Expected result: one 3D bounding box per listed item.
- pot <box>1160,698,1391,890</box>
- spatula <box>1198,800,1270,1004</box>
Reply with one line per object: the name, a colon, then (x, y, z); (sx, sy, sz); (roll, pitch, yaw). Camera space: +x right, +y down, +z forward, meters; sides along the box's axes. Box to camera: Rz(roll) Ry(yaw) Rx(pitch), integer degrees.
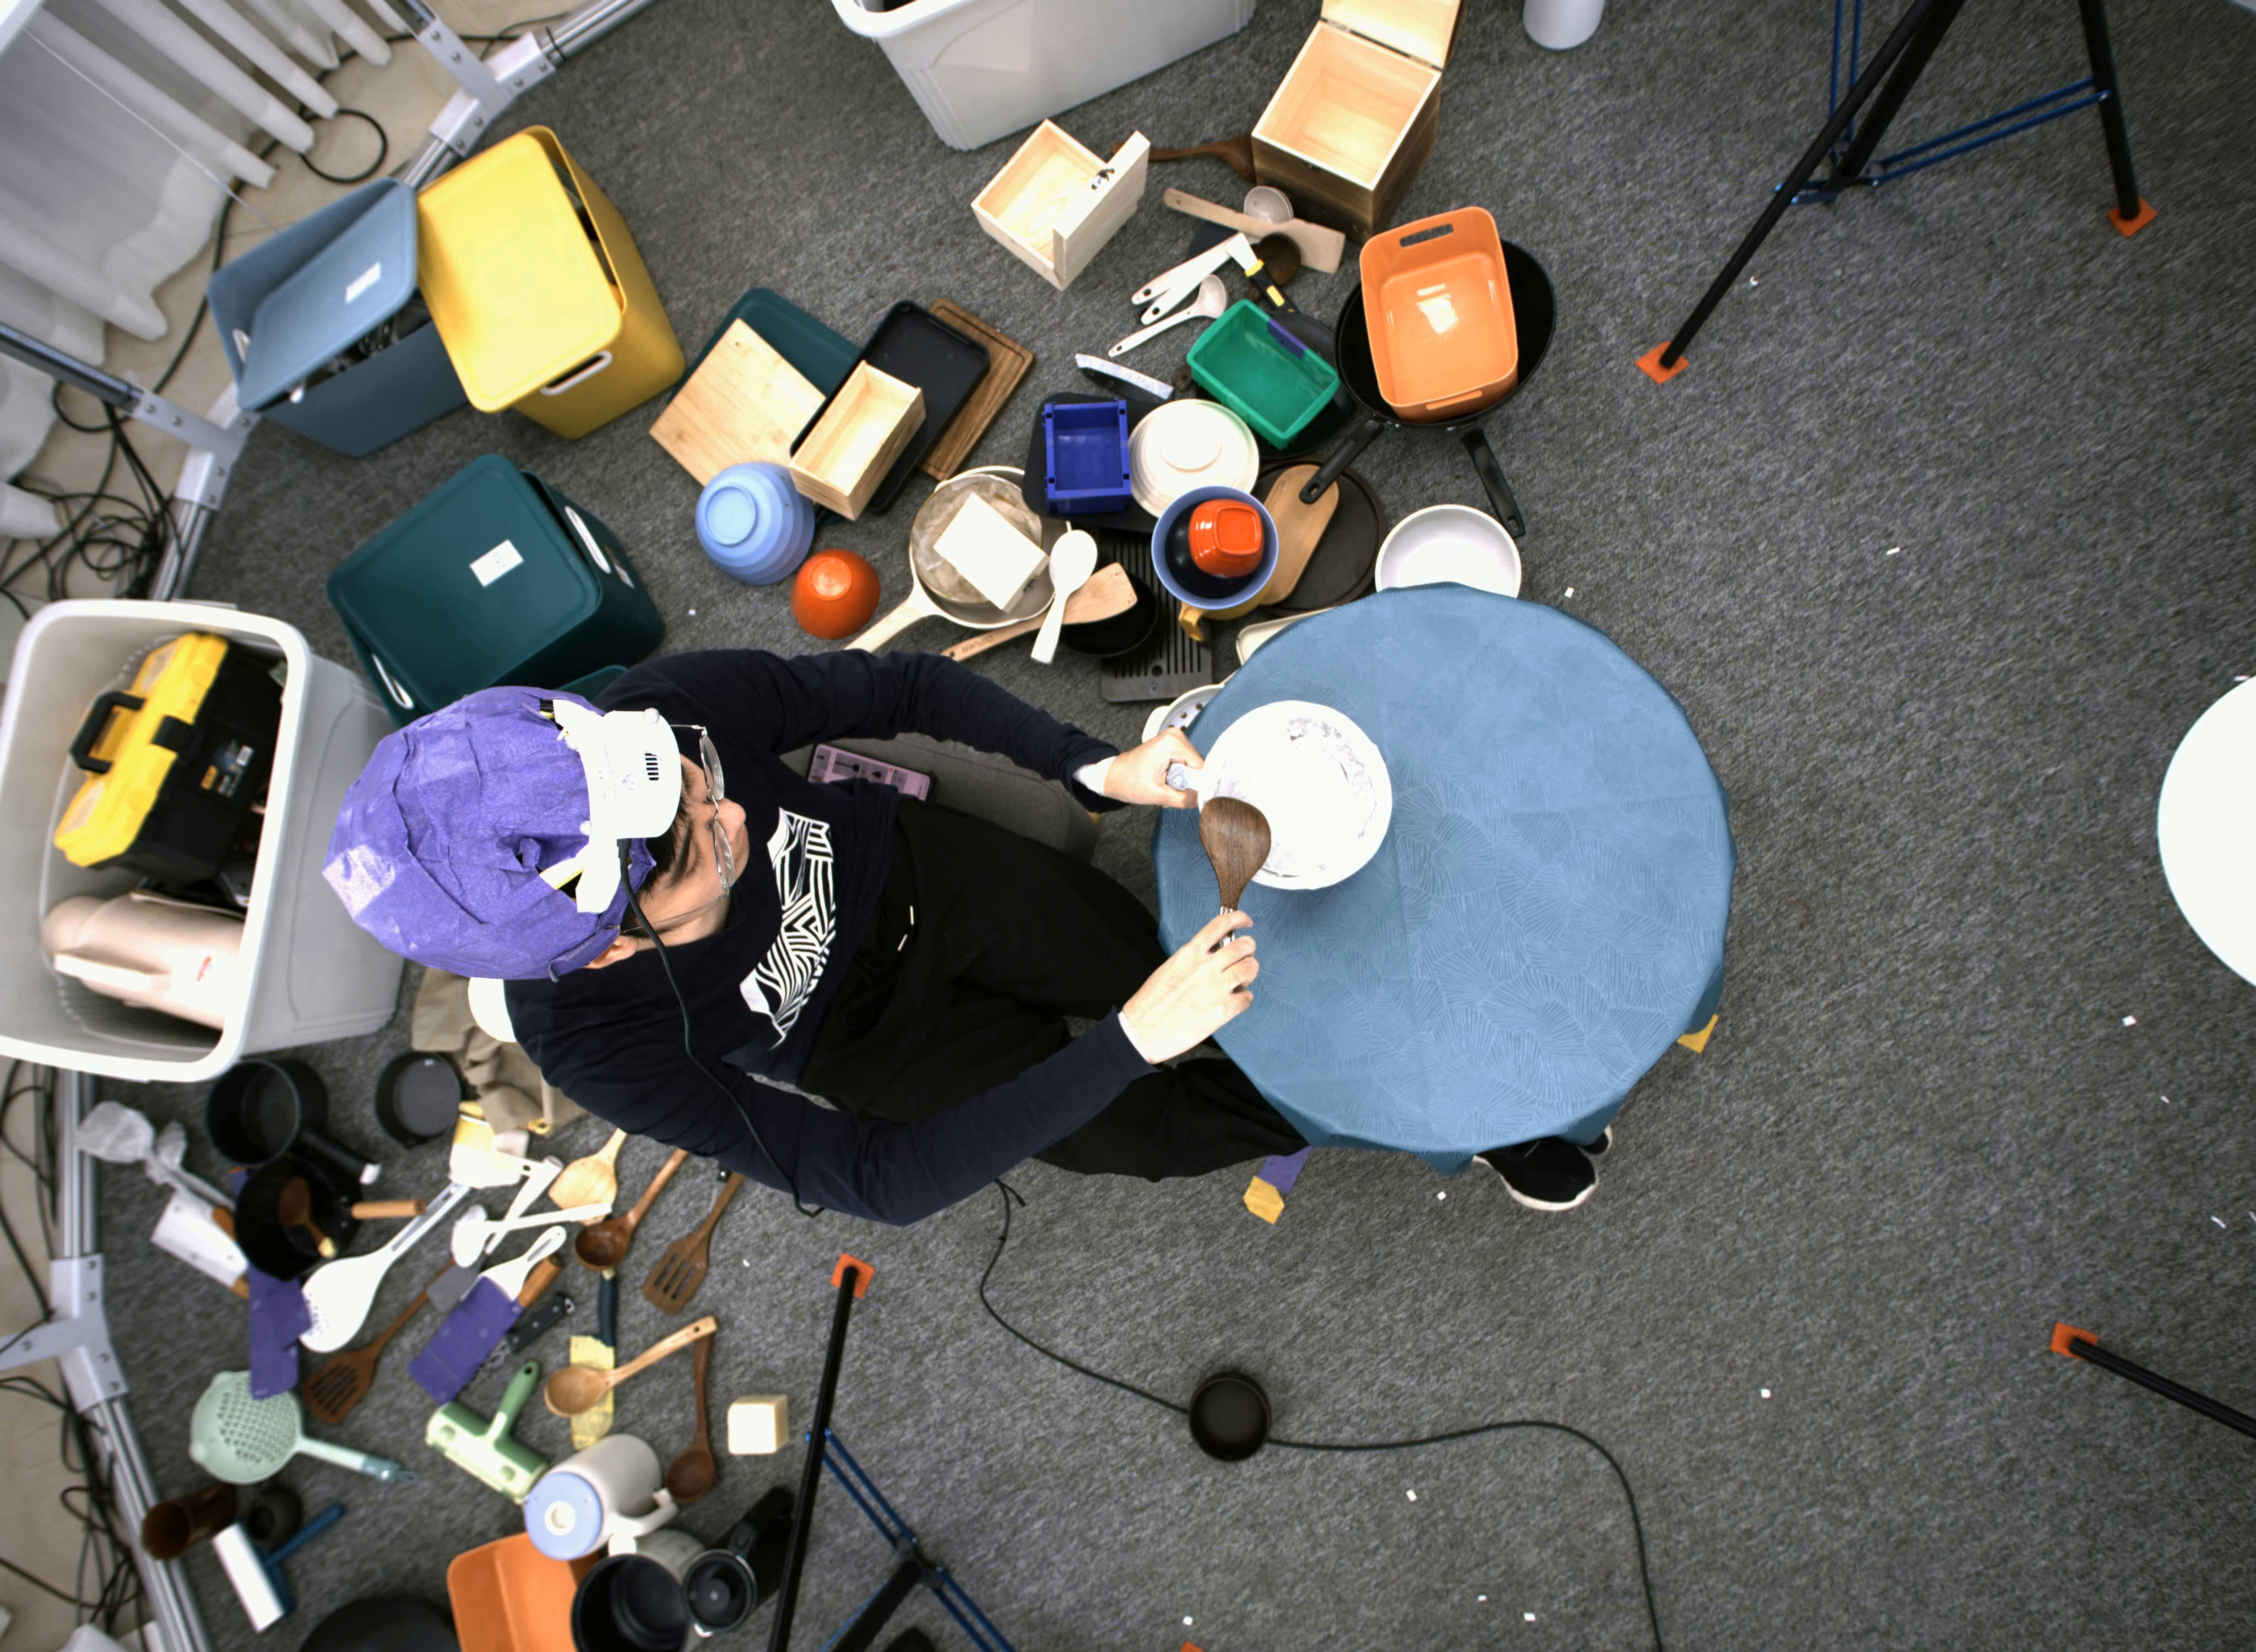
pot: (0.140, -0.031, 1.358); (0.234, 0.136, 0.178); (8, 89, 13)
spatula: (0.091, 0.065, 1.271); (0.072, 0.009, 0.210); (14, 60, -9)
